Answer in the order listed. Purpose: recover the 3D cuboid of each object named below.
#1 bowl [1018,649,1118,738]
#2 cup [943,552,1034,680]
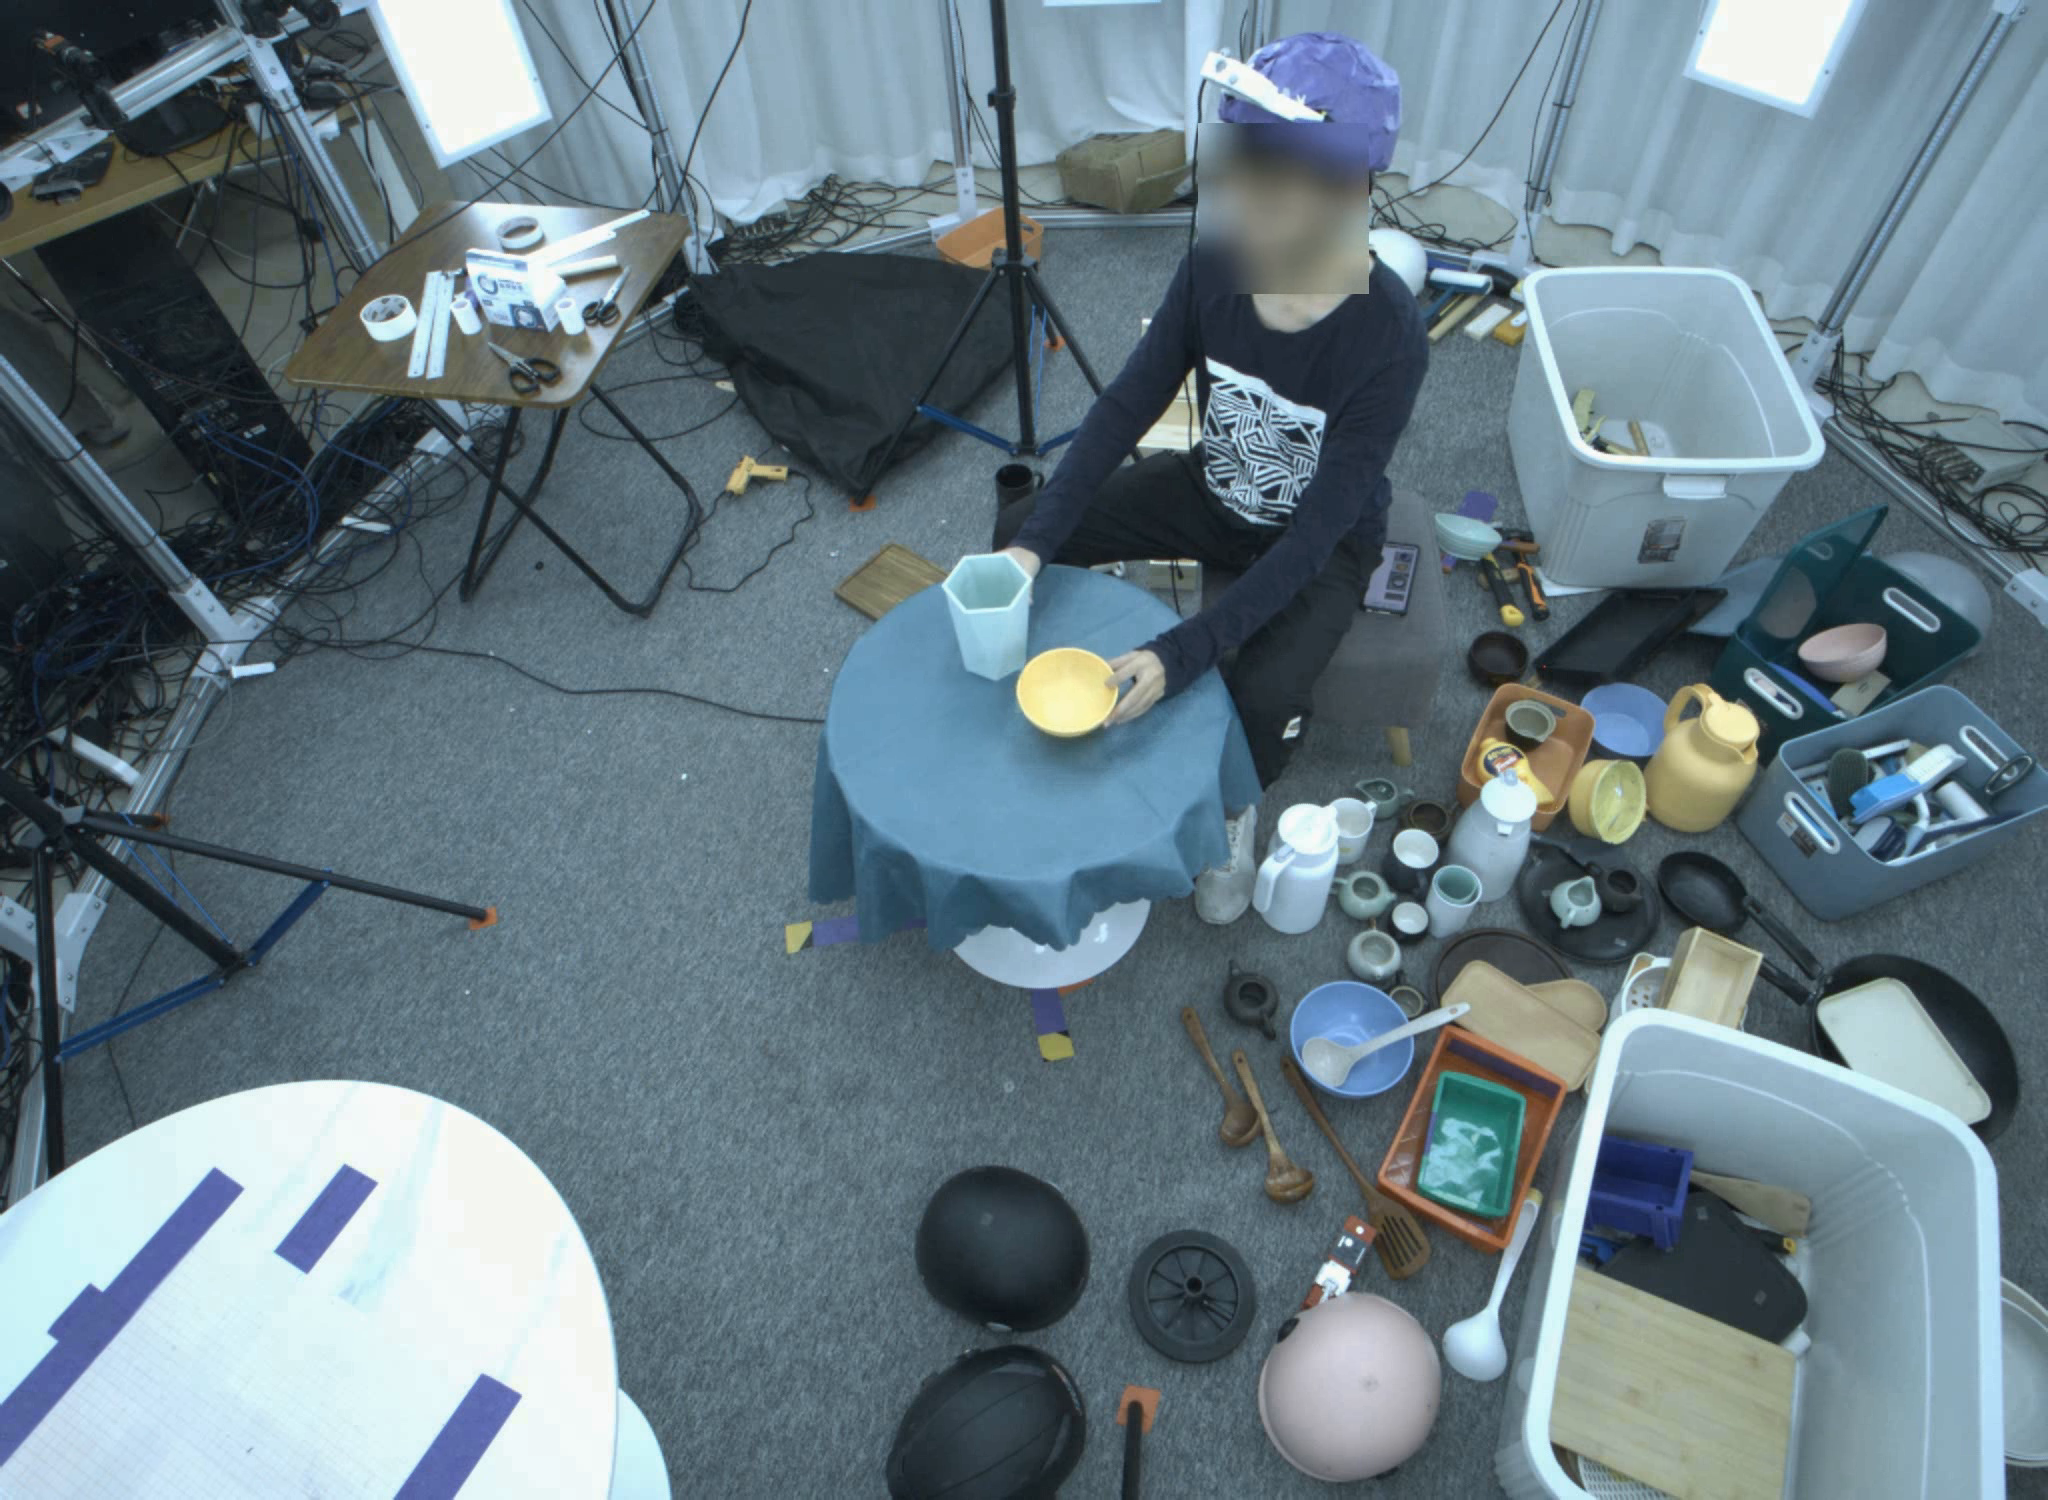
[{"bbox_3d":[0.062,-0.070,1.775,0.145,0.060,0.144,1,59,-1],"label":"bowl"},{"bbox_3d":[-0.049,-0.193,1.818,0.116,0.164,0.128,-30,59,-18],"label":"cup"}]
